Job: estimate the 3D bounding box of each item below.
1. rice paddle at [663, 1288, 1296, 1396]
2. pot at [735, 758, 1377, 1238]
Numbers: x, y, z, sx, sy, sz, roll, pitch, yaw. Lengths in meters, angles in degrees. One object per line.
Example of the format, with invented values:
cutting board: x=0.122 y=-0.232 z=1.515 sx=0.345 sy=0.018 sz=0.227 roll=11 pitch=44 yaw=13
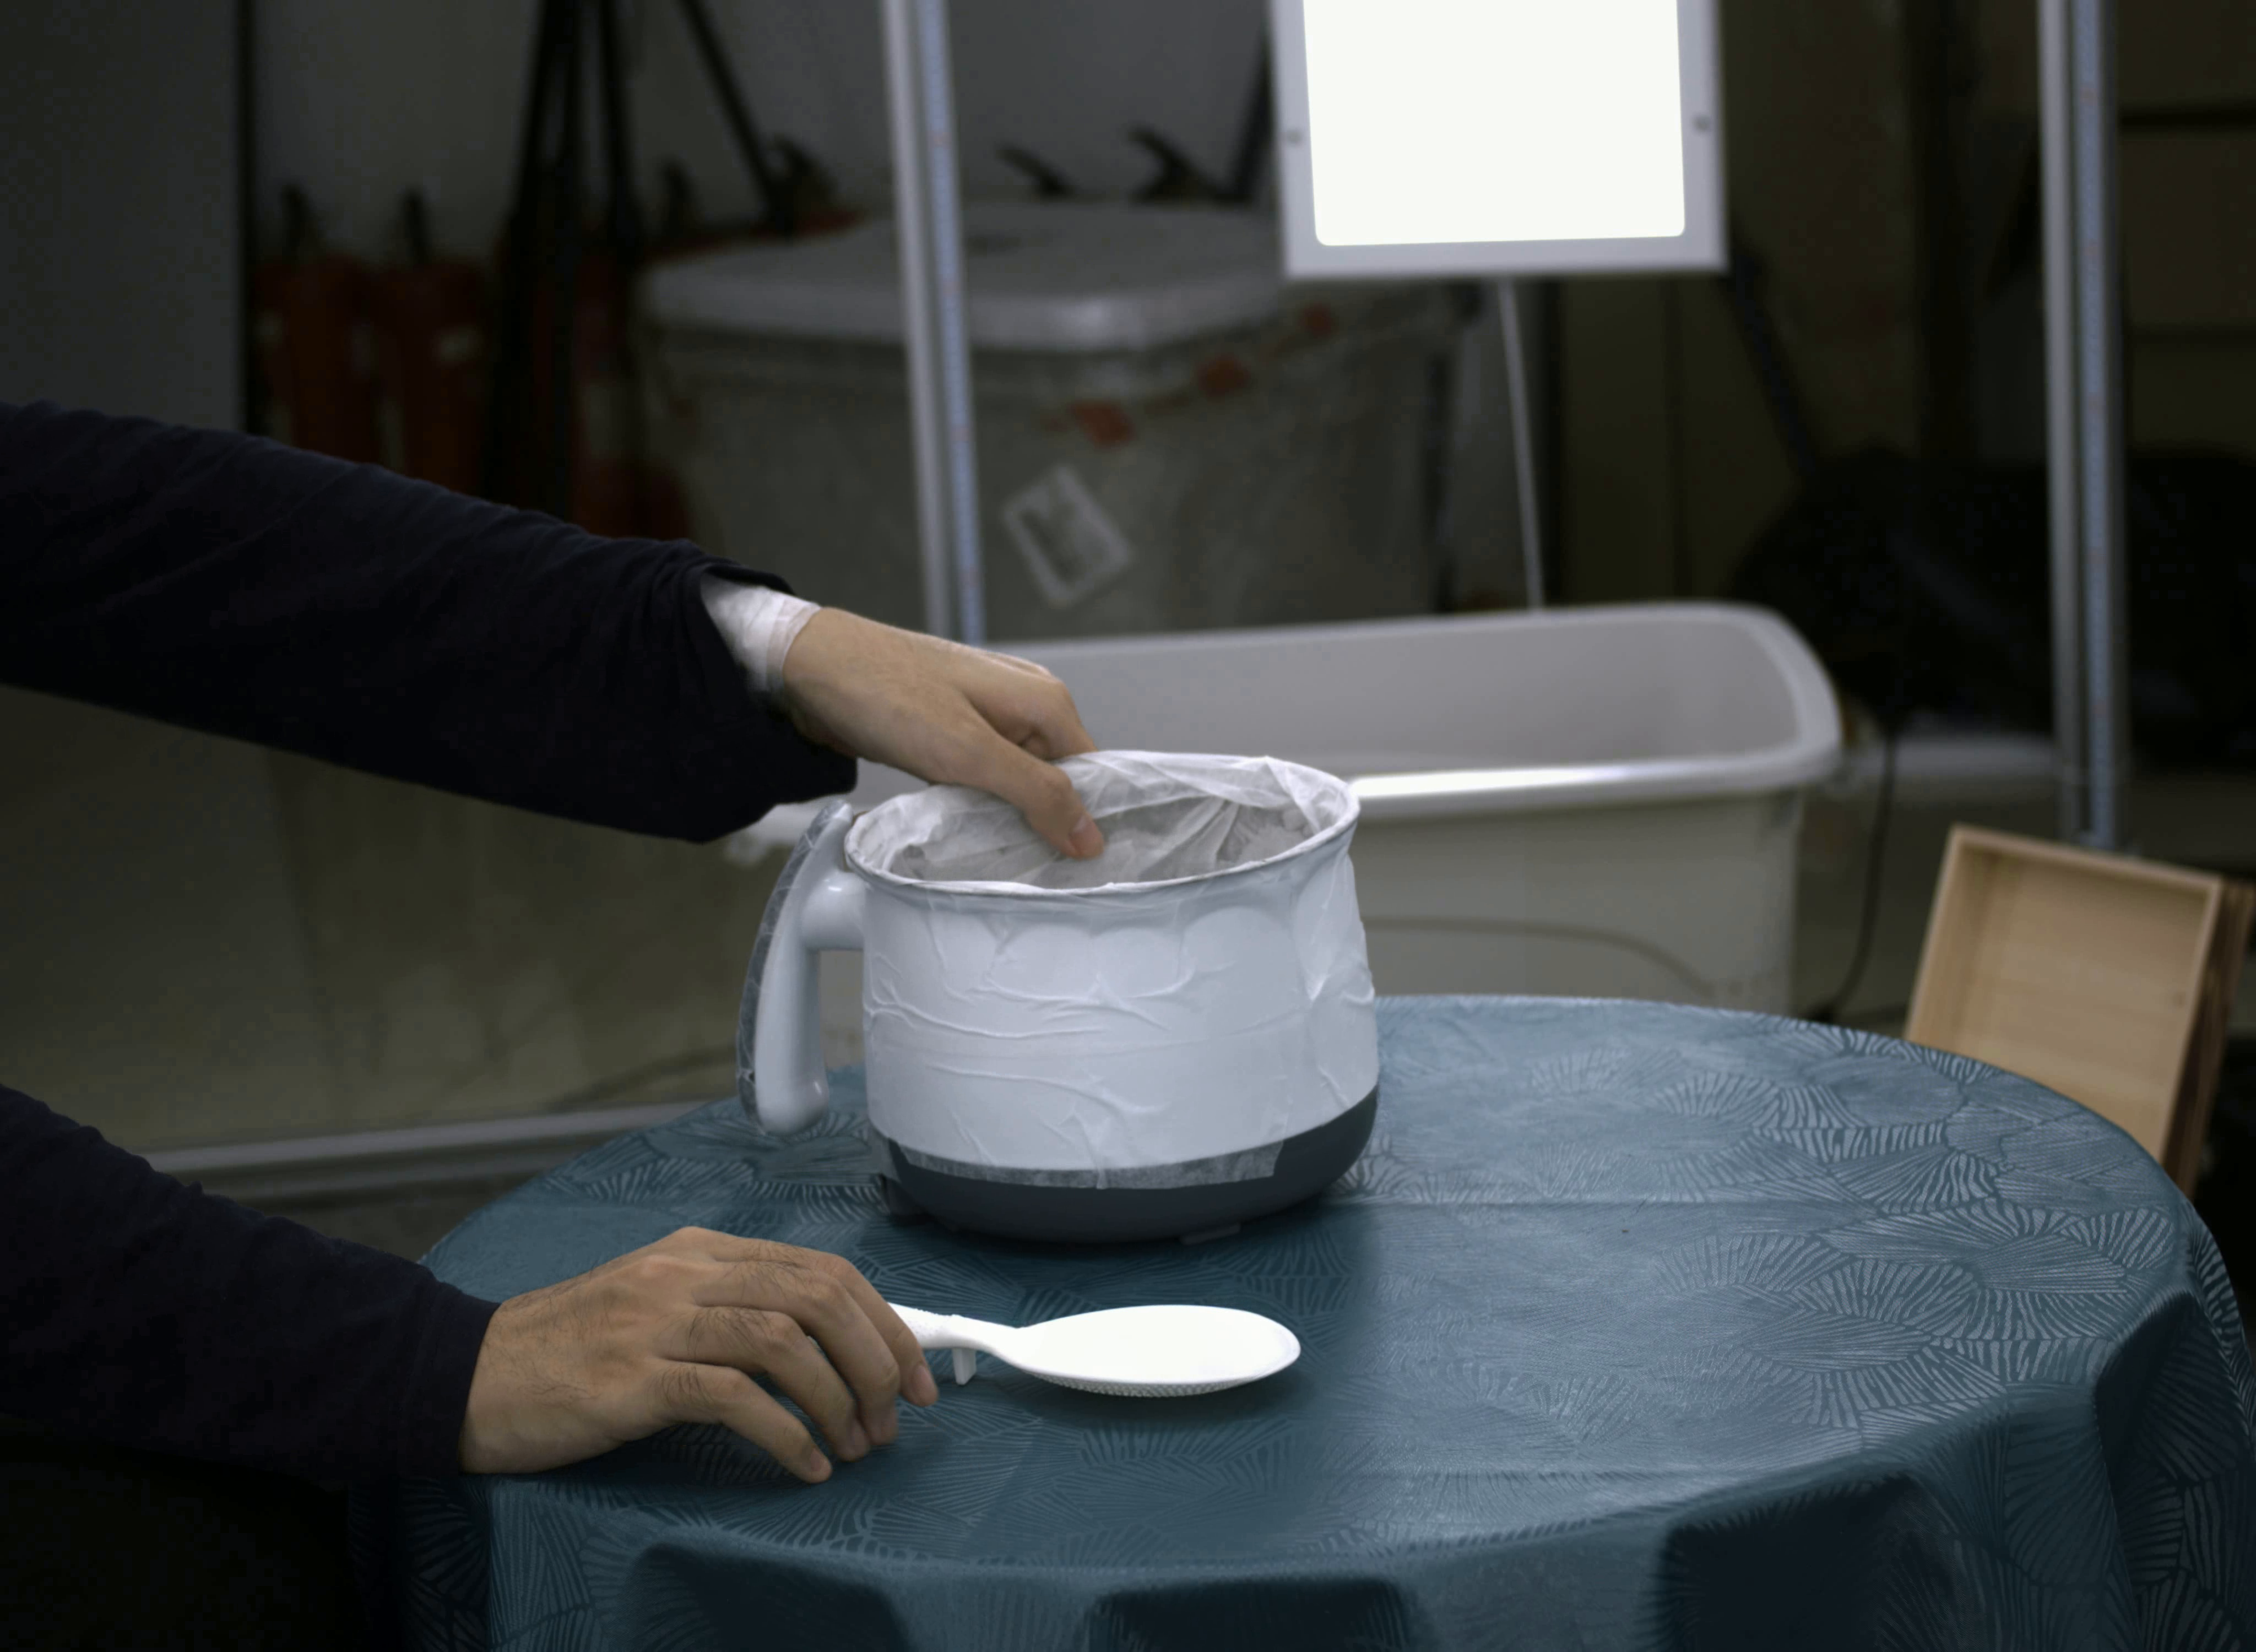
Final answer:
rice paddle: x=-0.046 y=0.160 z=1.722 sx=0.208 sy=0.029 sz=0.067 roll=-1 pitch=16 yaw=20
pot: x=-0.029 y=0.057 z=1.899 sx=0.237 sy=0.137 sz=0.175 roll=2 pitch=13 yaw=22
